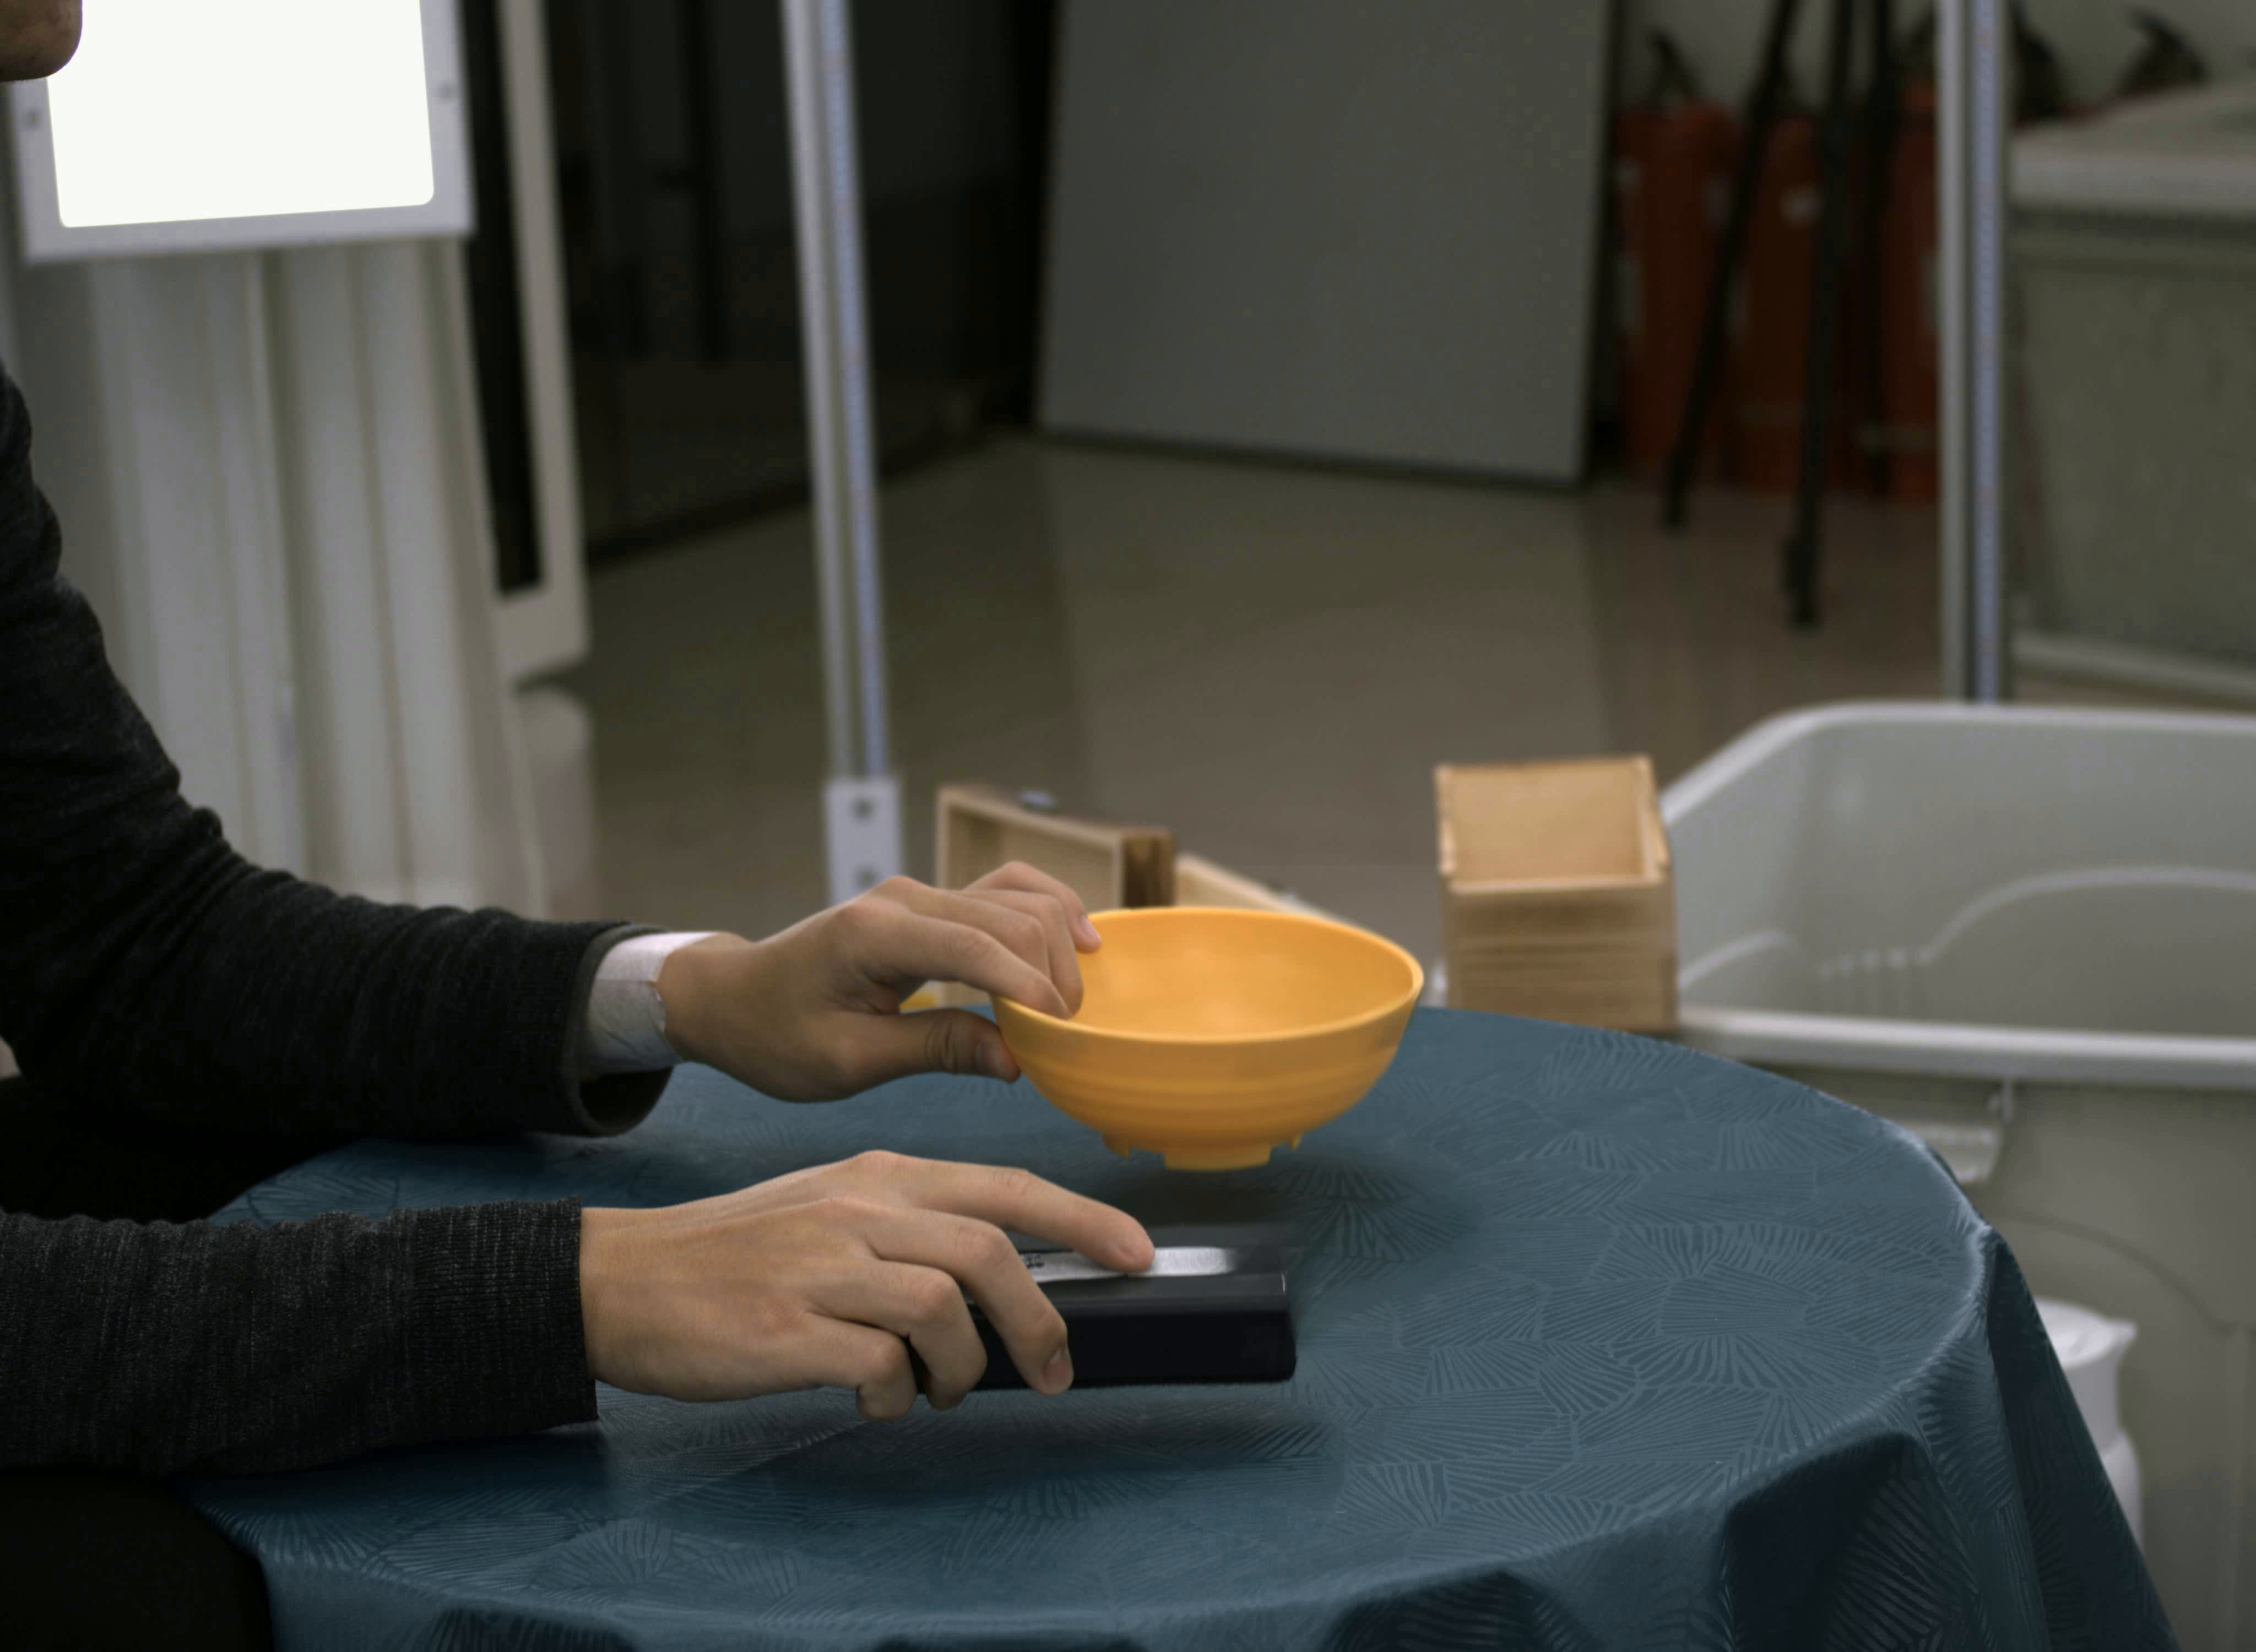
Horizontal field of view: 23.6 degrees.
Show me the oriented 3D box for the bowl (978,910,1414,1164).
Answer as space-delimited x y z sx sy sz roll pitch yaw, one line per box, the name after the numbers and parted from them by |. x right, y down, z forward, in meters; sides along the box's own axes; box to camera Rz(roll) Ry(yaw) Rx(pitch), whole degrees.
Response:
0.021 0.073 1.759 0.143 0.061 0.145 0 13 -1 | bowl

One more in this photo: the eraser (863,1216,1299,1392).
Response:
-0.013 0.136 1.543 0.124 0.031 0.053 -3 21 3 | eraser
